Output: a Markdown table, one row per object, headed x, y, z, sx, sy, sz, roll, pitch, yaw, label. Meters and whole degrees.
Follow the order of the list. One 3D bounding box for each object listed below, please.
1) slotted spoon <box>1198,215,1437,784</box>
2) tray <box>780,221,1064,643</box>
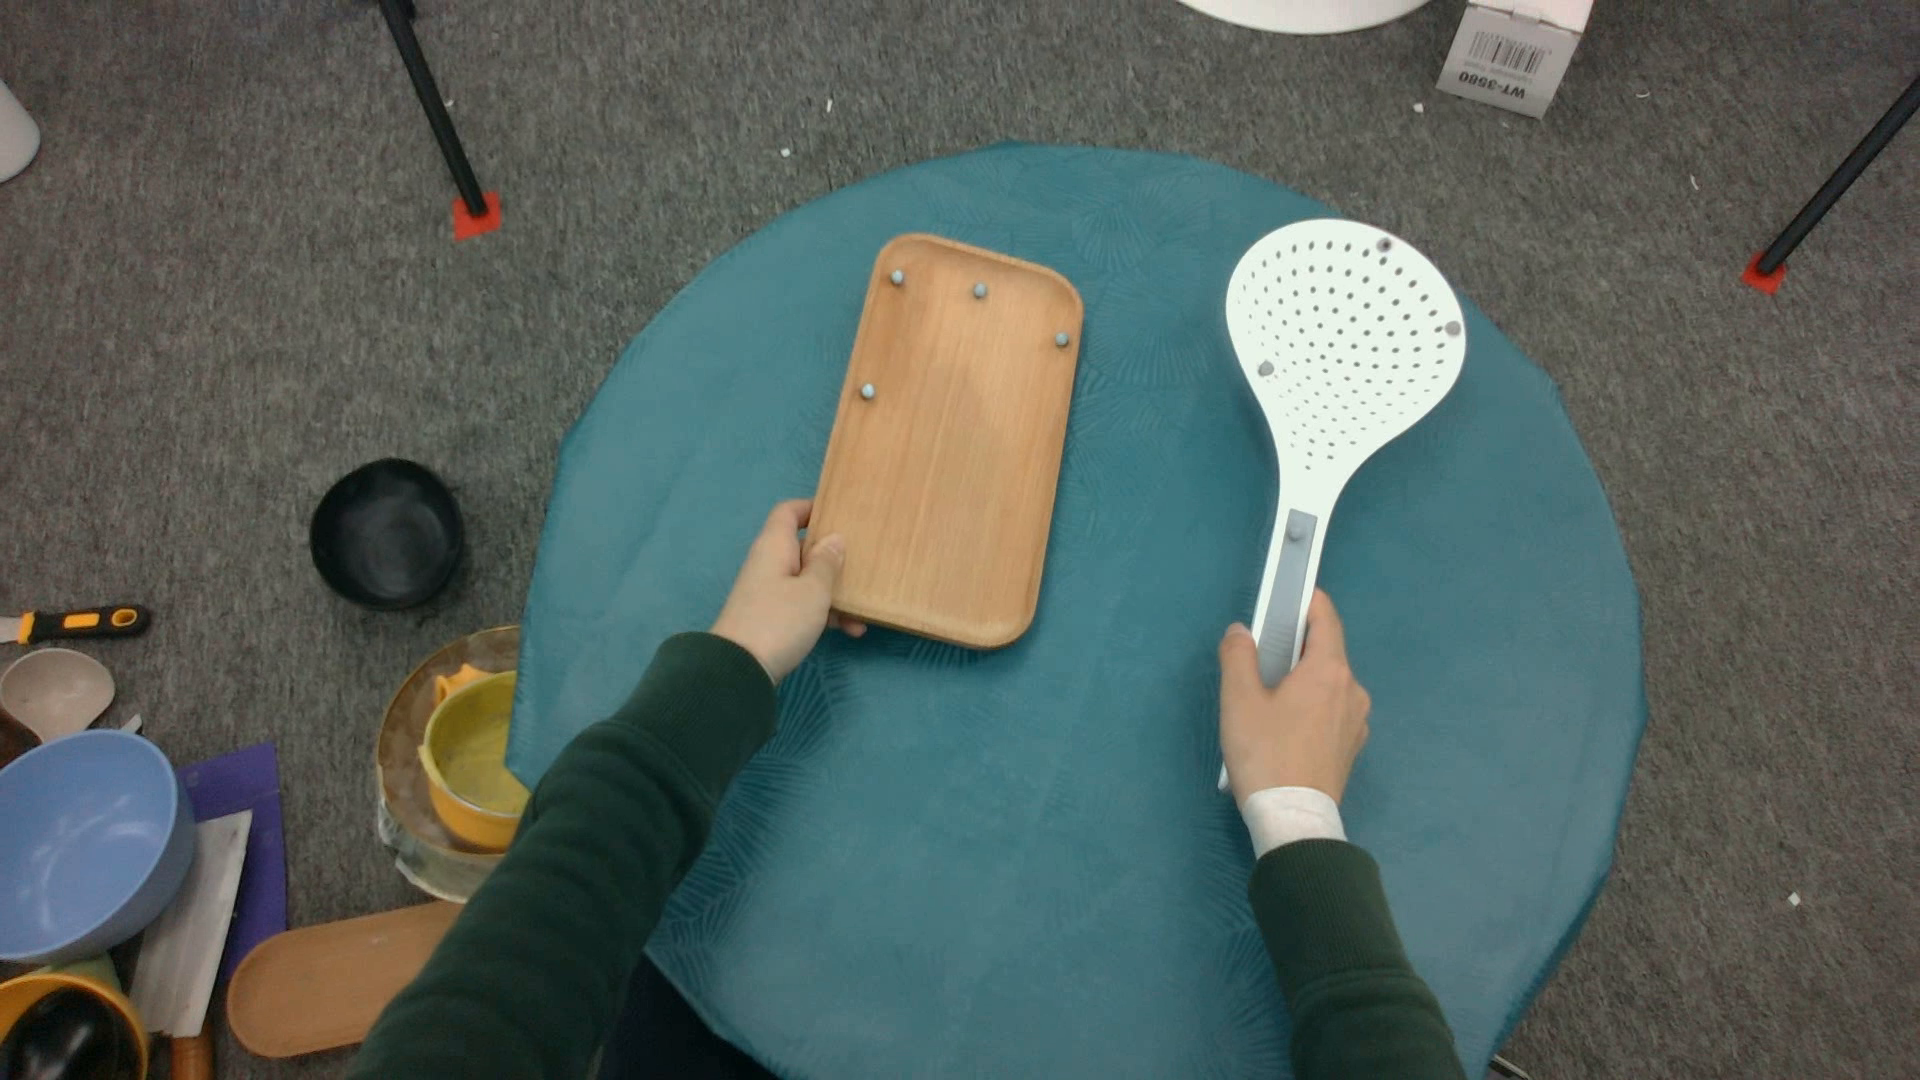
| x | y | z | sx | sy | sz | roll | pitch | yaw | label |
| --- | --- | --- | --- | --- | --- | --- | --- | --- | --- |
| 0.176 | -0.034 | 0.744 | 0.136 | 0.045 | 0.351 | 16 | 60 | 3 | slotted spoon |
| -0.016 | -0.066 | 0.766 | 0.130 | 0.023 | 0.251 | 14 | 63 | -6 | tray |
